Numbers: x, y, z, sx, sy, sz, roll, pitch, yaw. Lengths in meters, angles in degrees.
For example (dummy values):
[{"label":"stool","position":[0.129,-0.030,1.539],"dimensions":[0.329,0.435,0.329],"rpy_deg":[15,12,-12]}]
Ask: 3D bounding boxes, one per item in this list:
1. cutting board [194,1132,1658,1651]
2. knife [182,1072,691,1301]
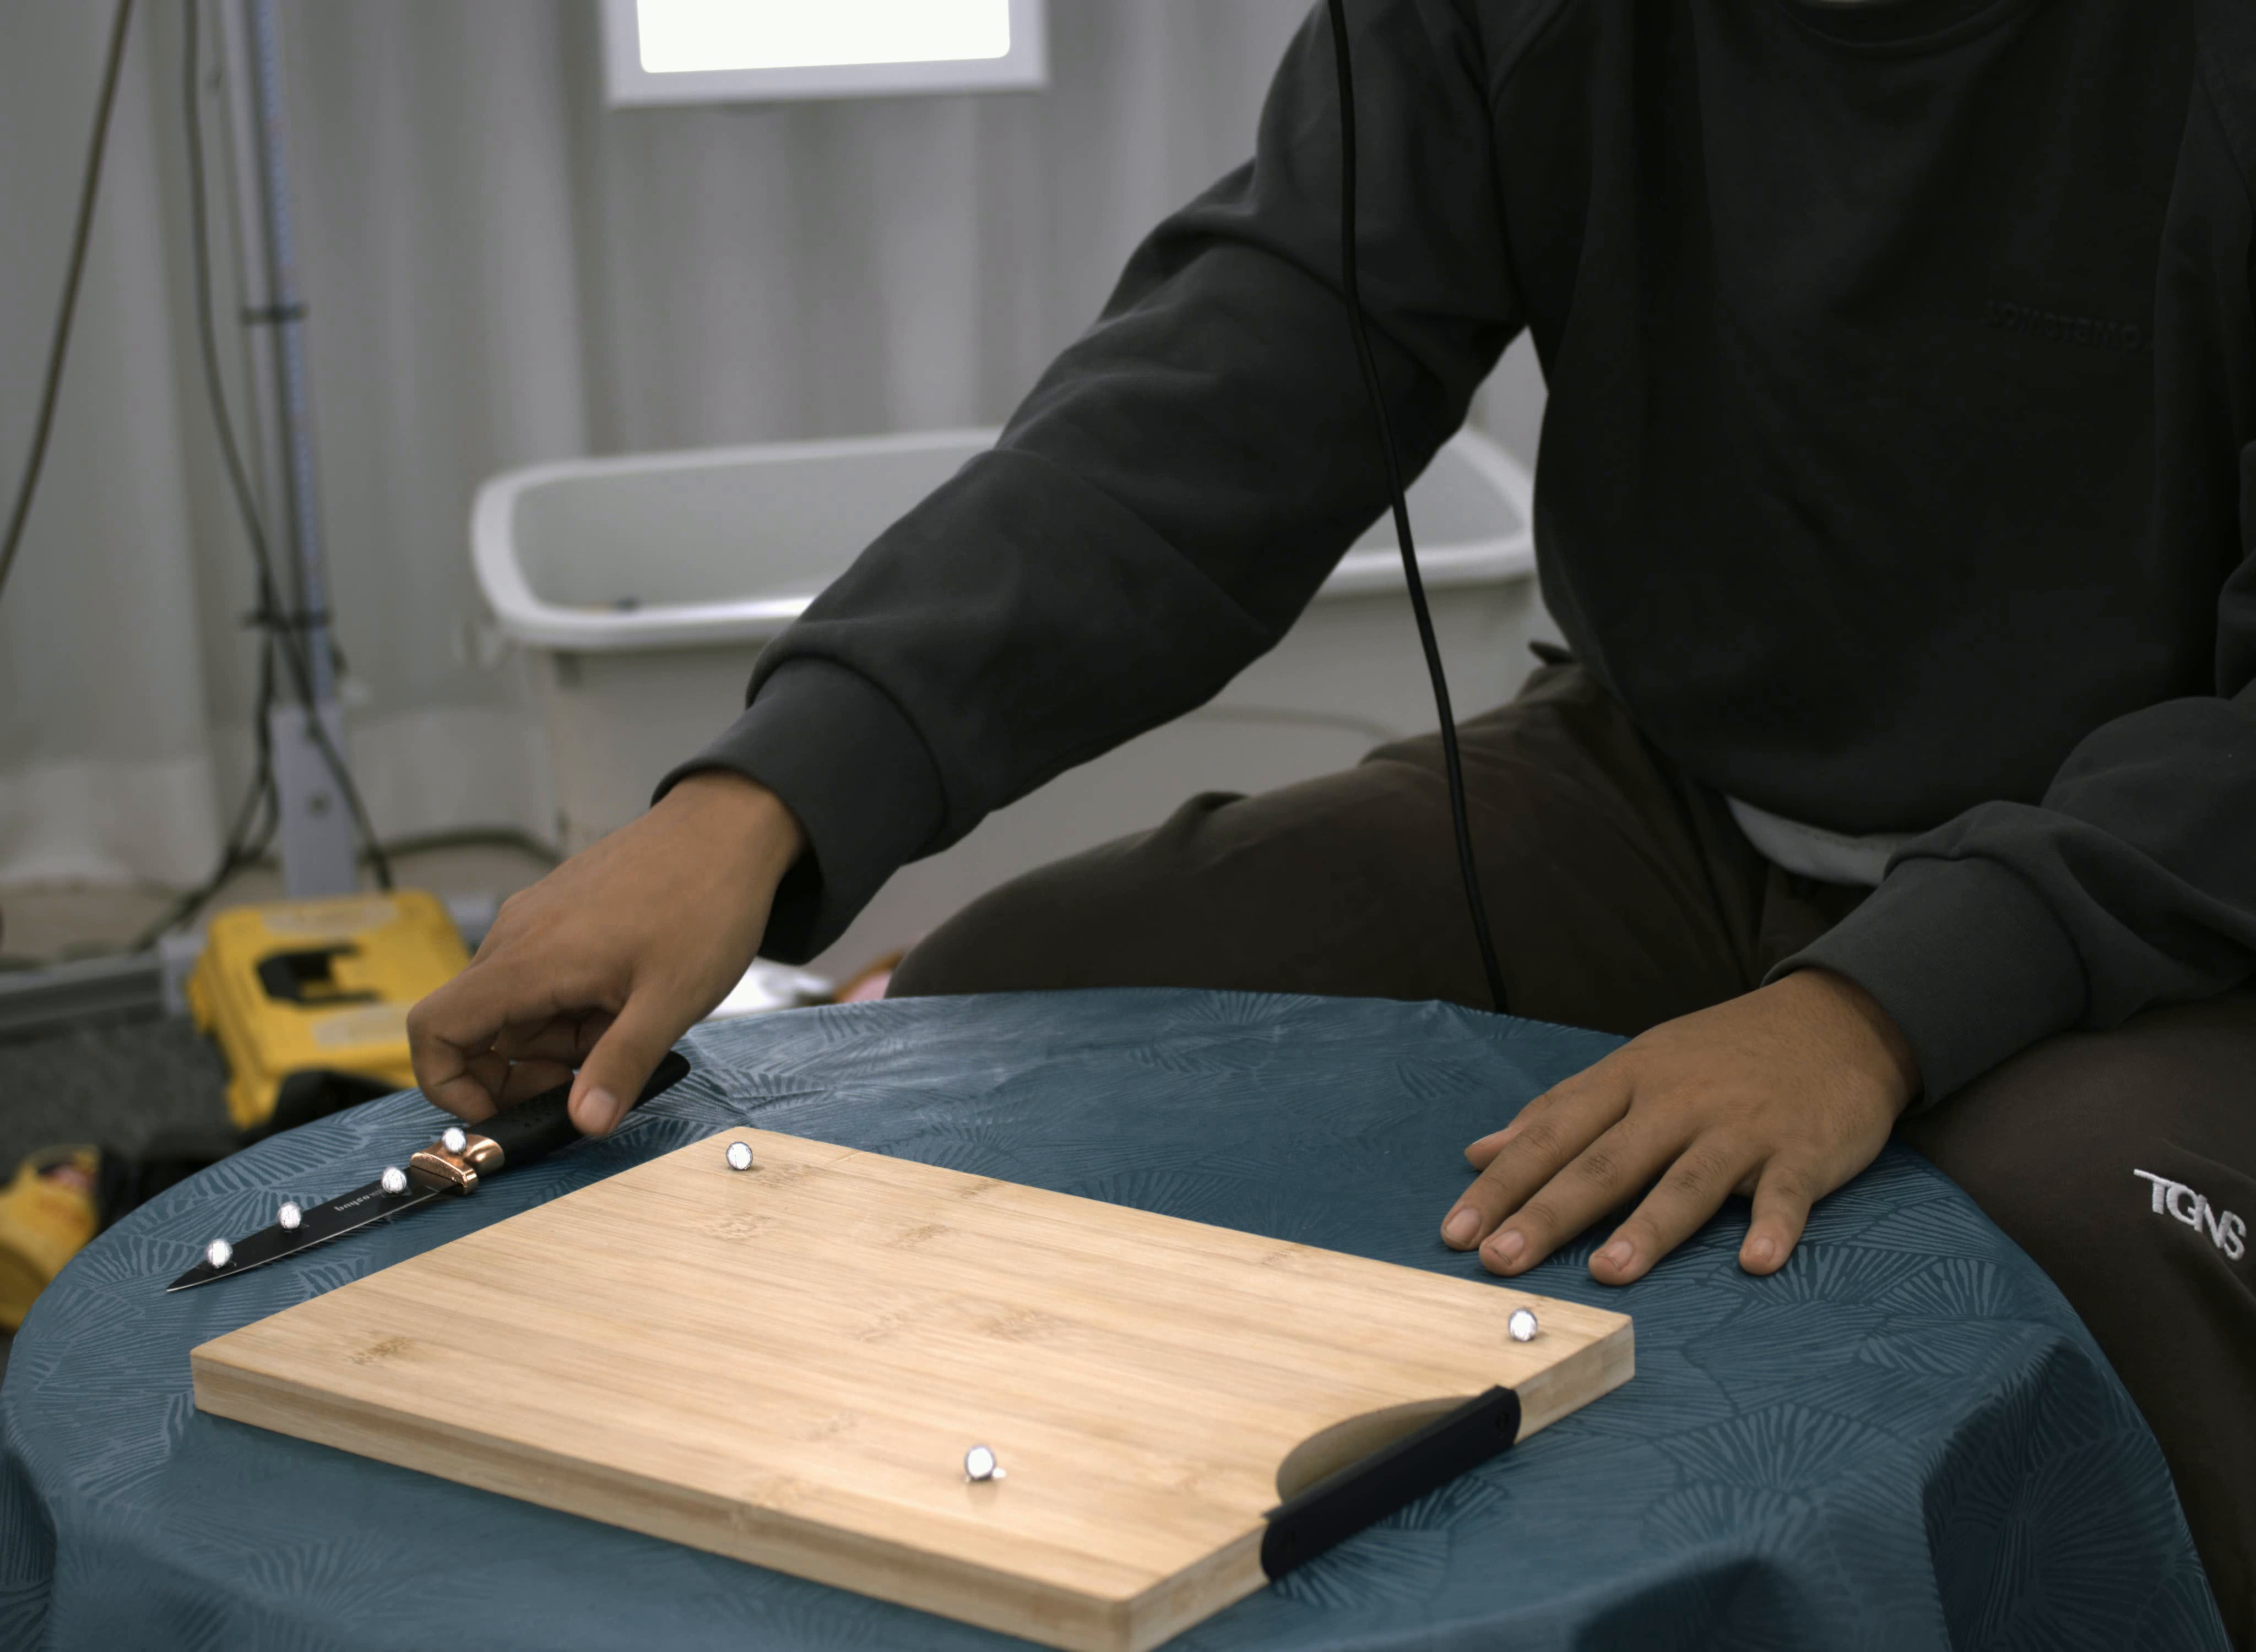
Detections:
[{"label":"cutting board","position":[-0.058,0.155,1.547],"dimensions":[0.350,0.023,0.250],"rpy_deg":[9,19,37]},{"label":"knife","position":[-0.218,0.114,1.739],"dimensions":[0.026,0.017,0.225],"rpy_deg":[16,24,36]}]
